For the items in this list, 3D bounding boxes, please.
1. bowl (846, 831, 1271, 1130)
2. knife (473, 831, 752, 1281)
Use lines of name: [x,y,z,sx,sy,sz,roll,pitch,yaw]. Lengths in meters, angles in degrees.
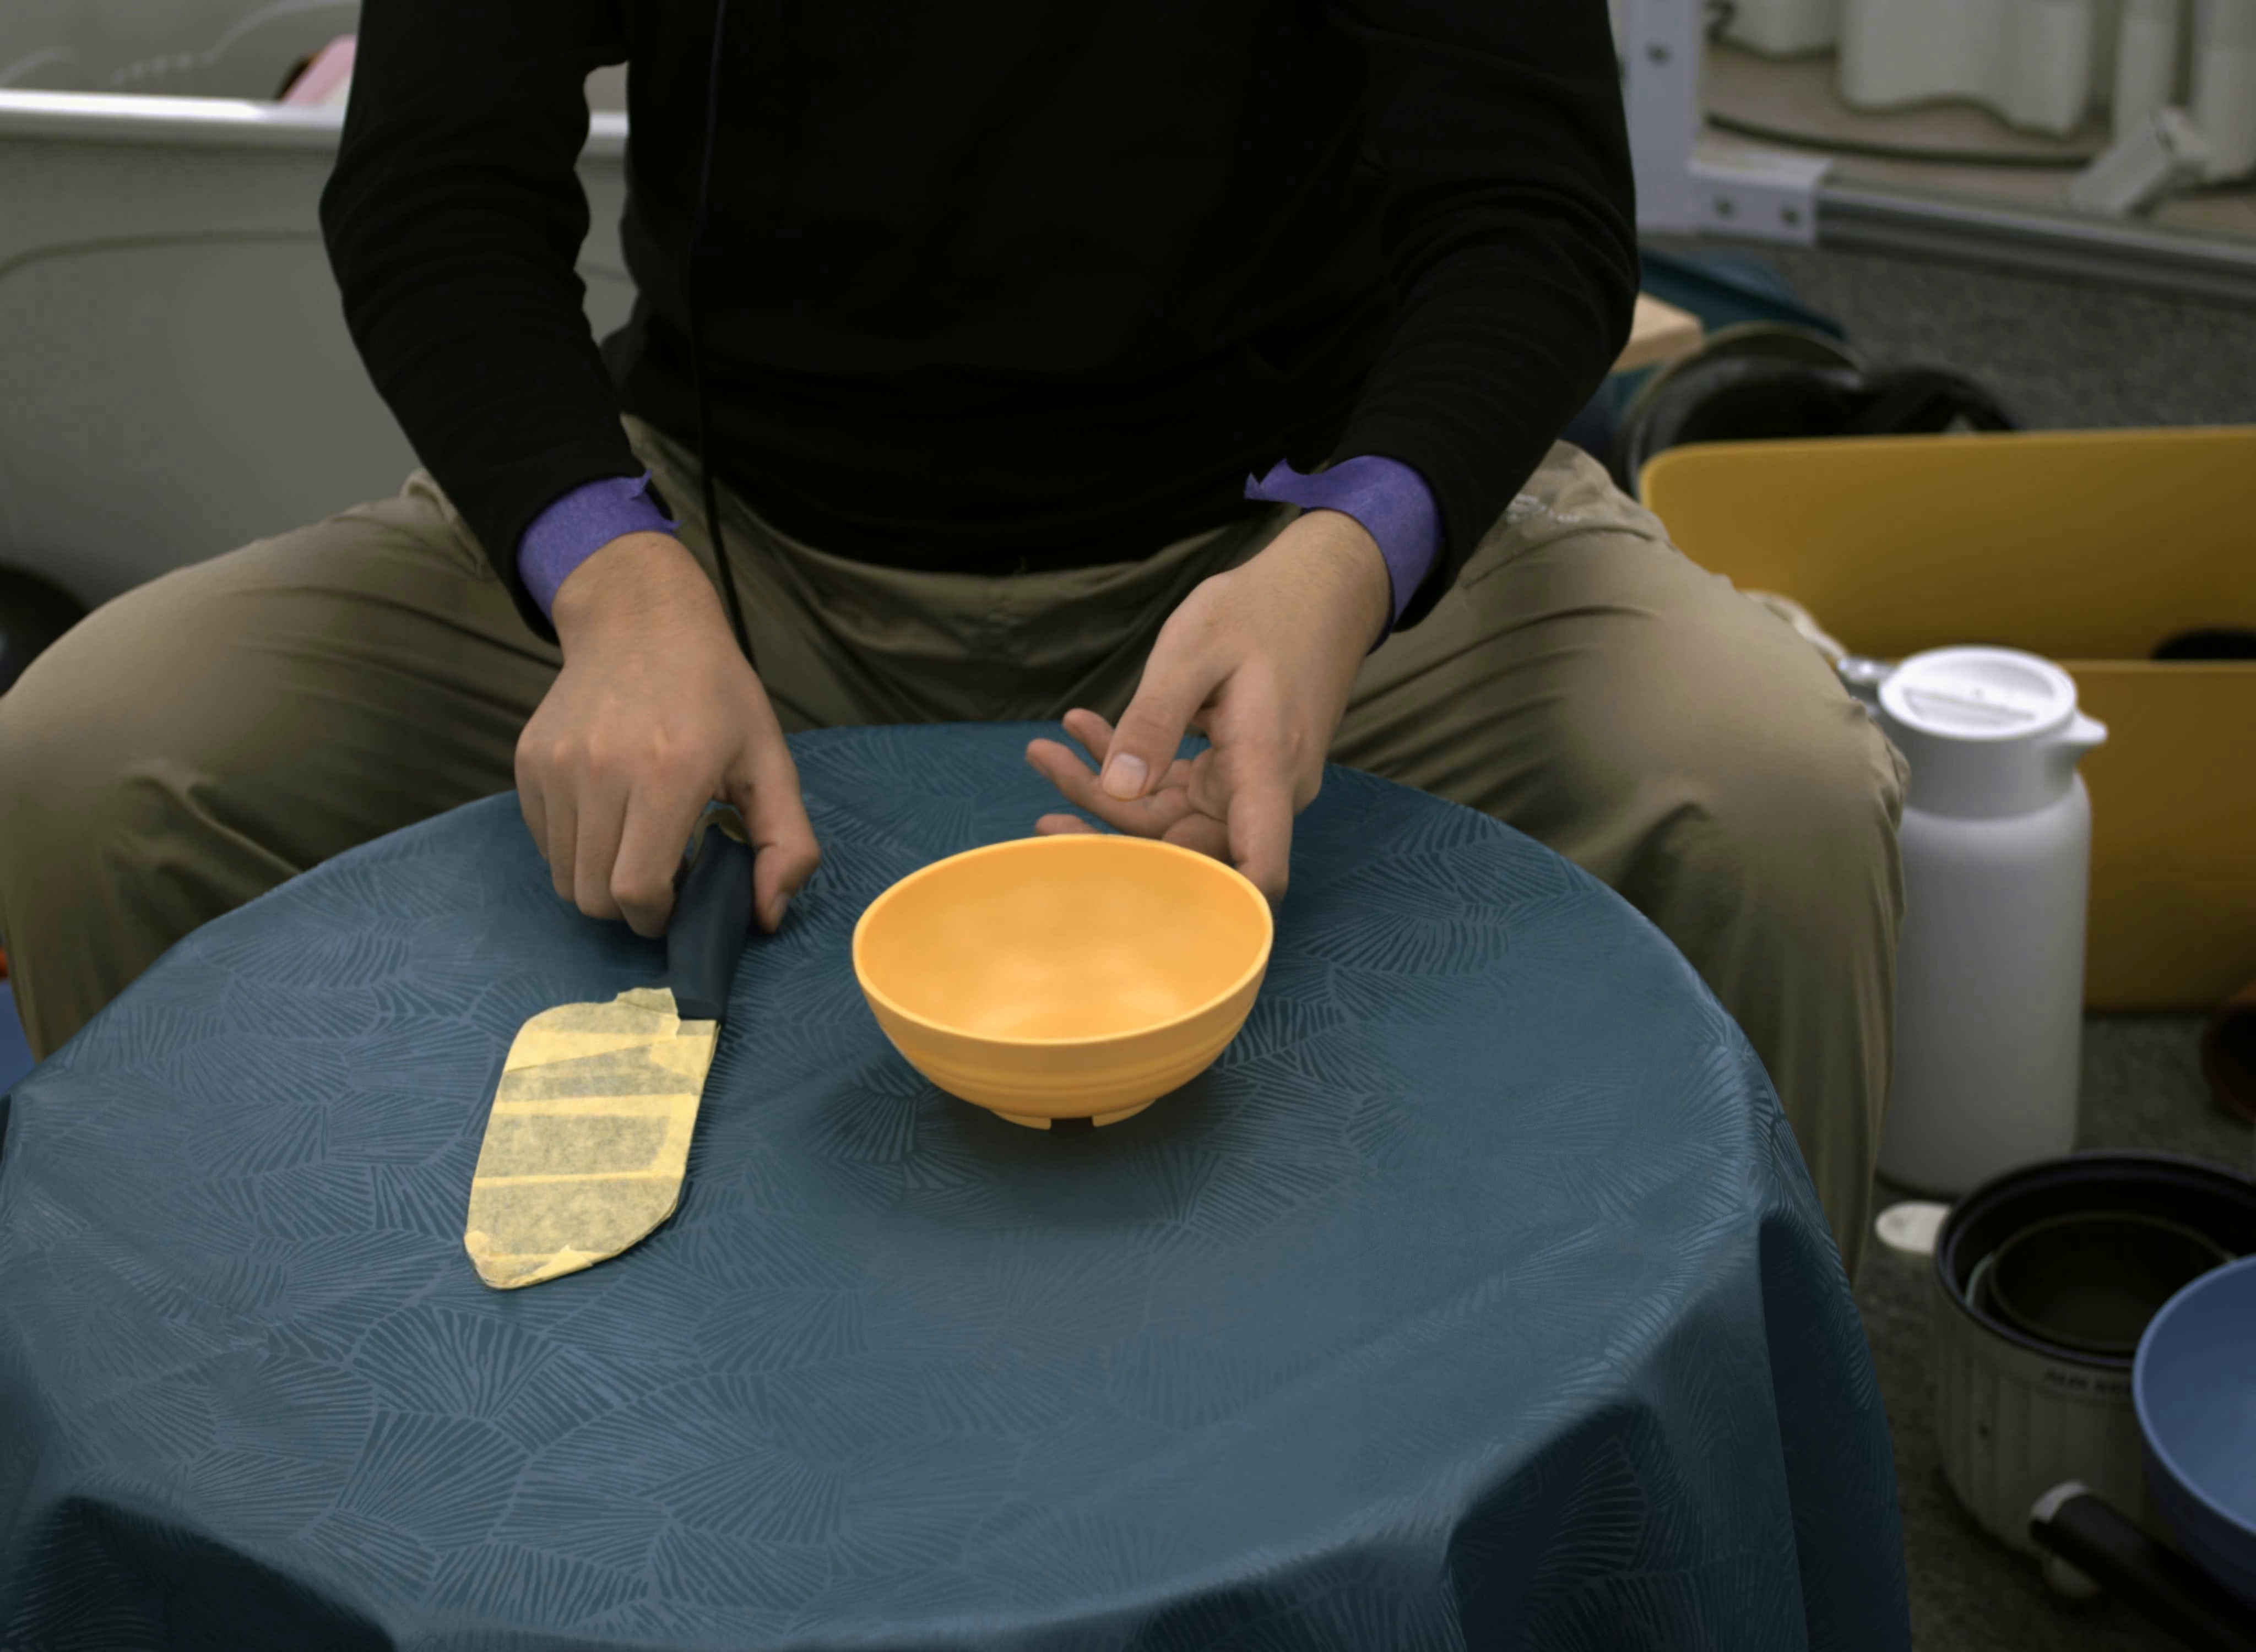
bowl: [-0.023,0.062,1.914,0.144,0.059,0.147,0,28,0]
knife: [-0.176,0.078,1.945,0.080,0.027,0.294,2,29,7]
